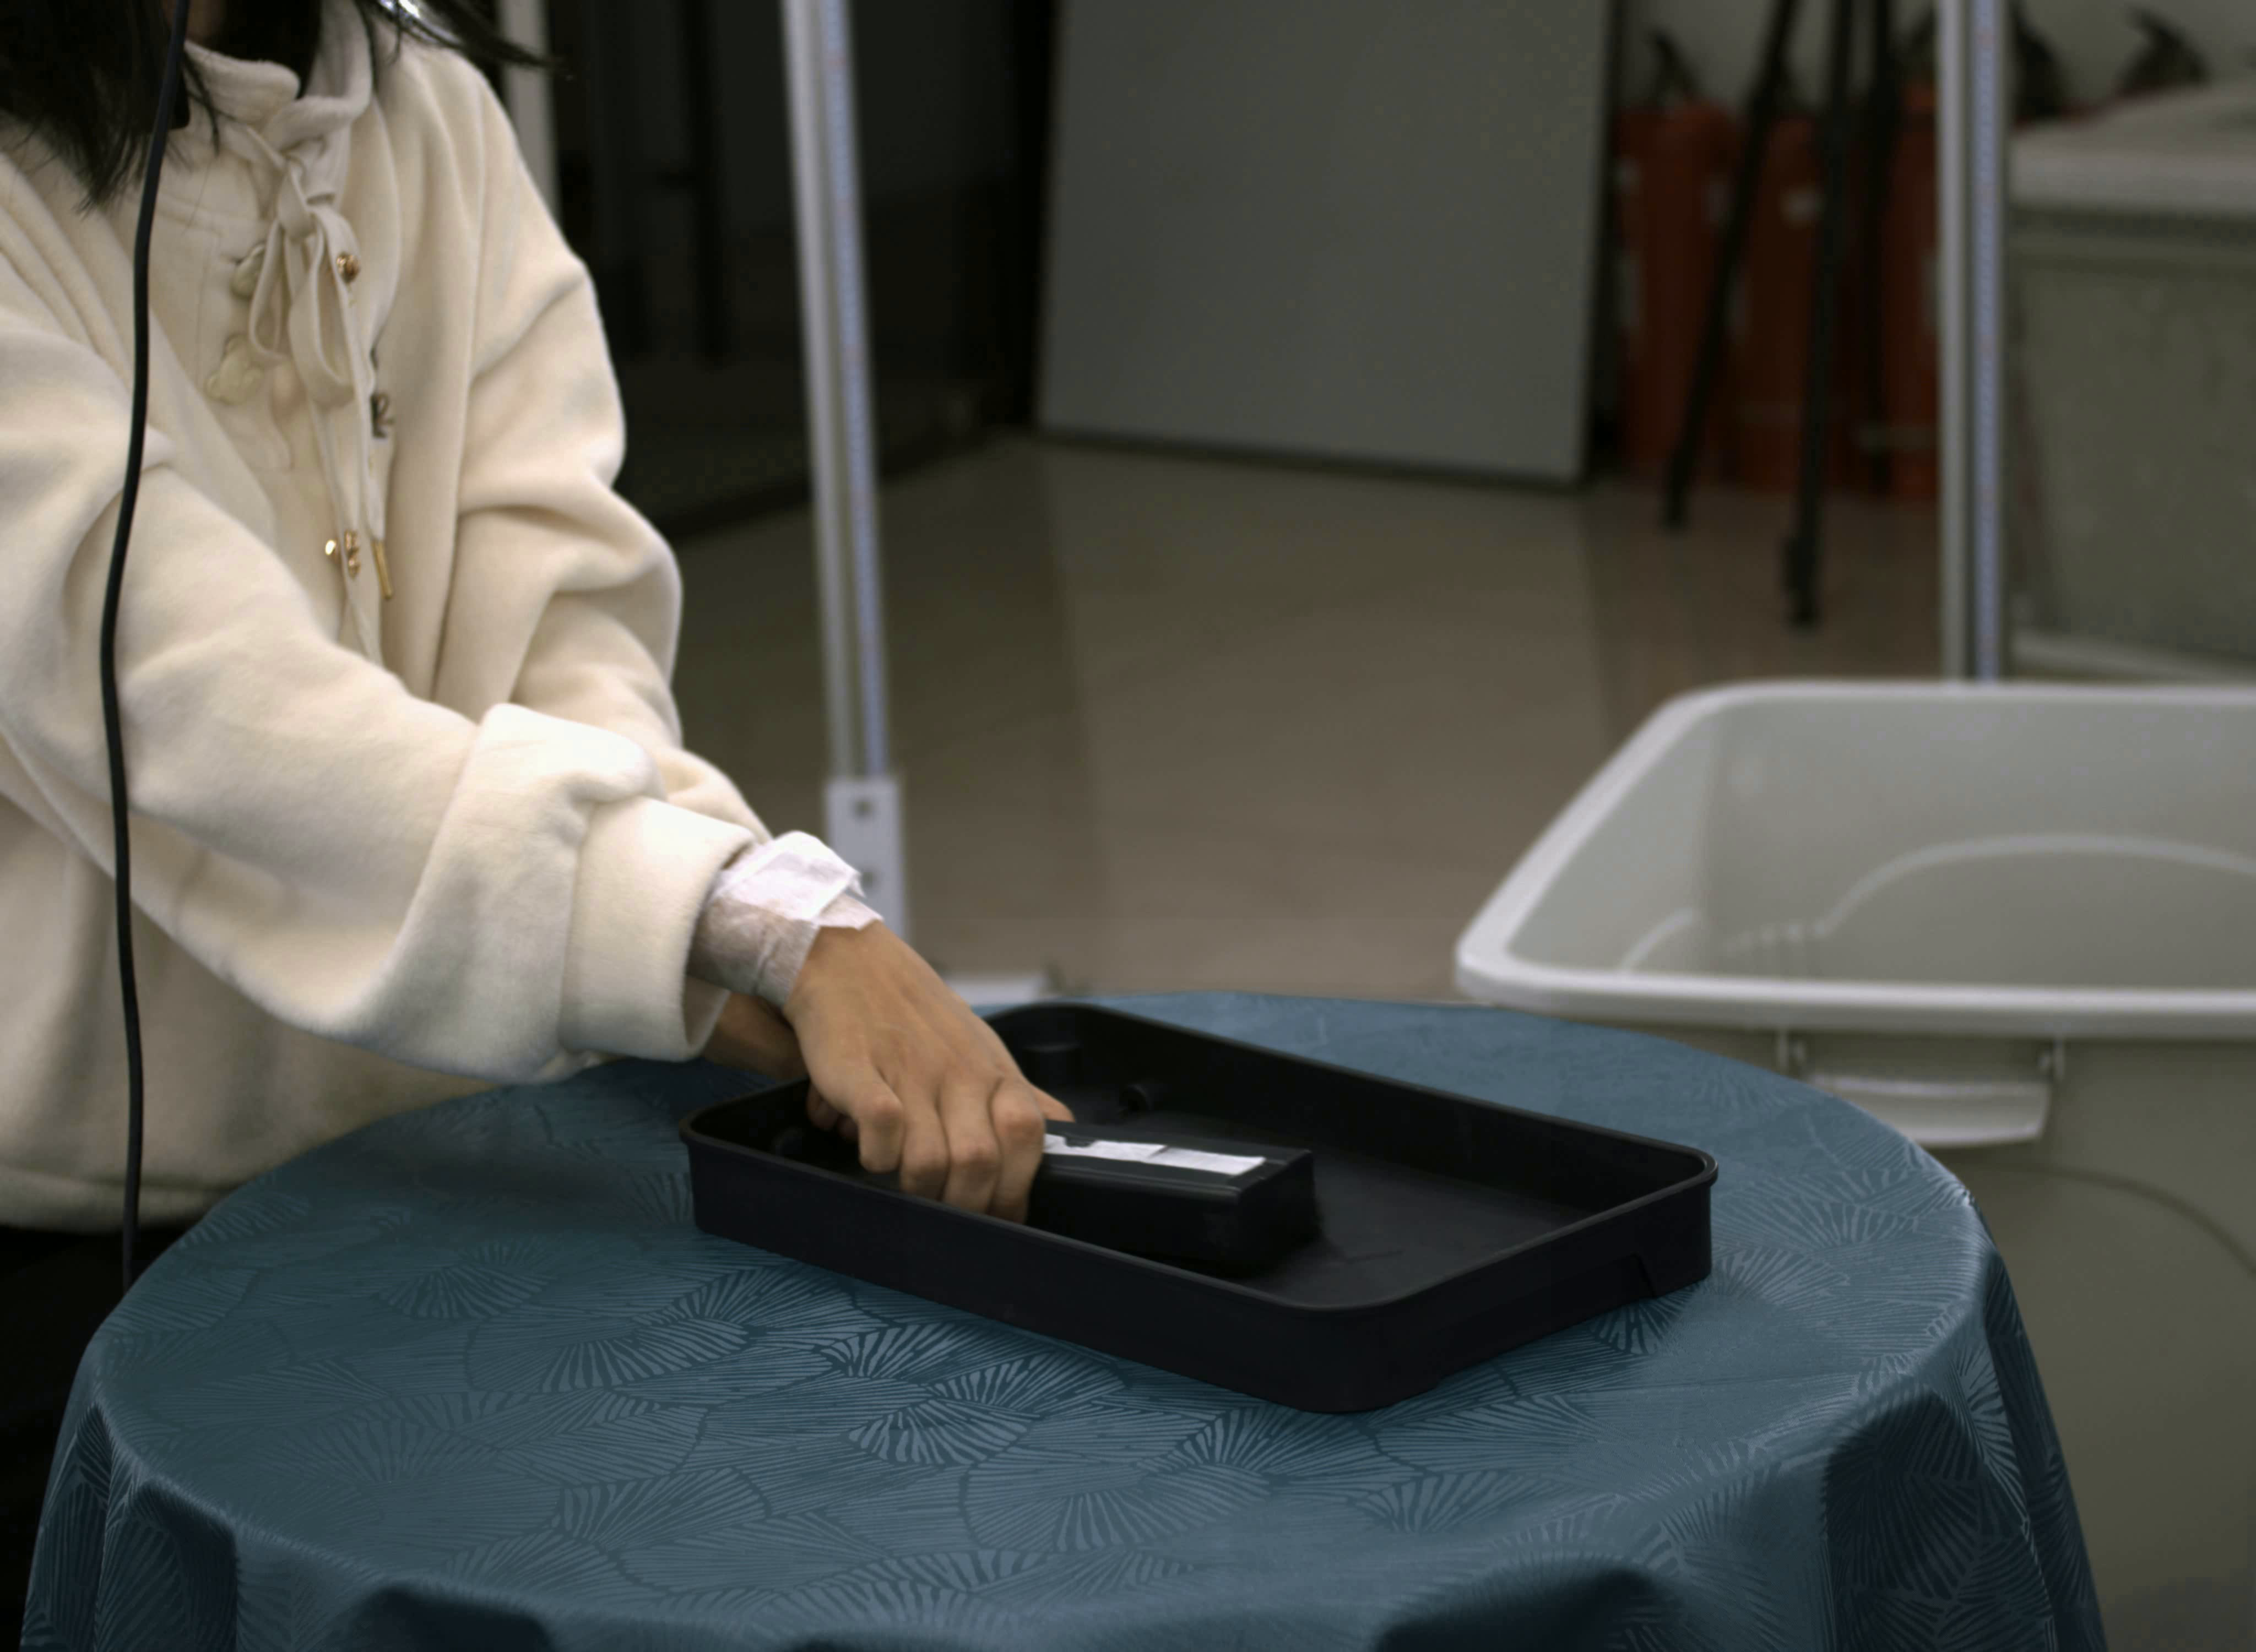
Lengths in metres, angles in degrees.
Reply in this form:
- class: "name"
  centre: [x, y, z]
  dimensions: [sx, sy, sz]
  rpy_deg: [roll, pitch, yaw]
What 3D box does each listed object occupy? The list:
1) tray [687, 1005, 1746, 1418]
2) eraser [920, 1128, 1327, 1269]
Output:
- class: "tray"
  centre: [0.025, 0.117, 1.702]
  dimensions: [0.321, 0.037, 0.180]
  rpy_deg: [10, 20, 44]
- class: "eraser"
  centre: [-0.001, 0.118, 1.707]
  dimensions: [0.126, 0.031, 0.052]
  rpy_deg: [4, 11, 33]
